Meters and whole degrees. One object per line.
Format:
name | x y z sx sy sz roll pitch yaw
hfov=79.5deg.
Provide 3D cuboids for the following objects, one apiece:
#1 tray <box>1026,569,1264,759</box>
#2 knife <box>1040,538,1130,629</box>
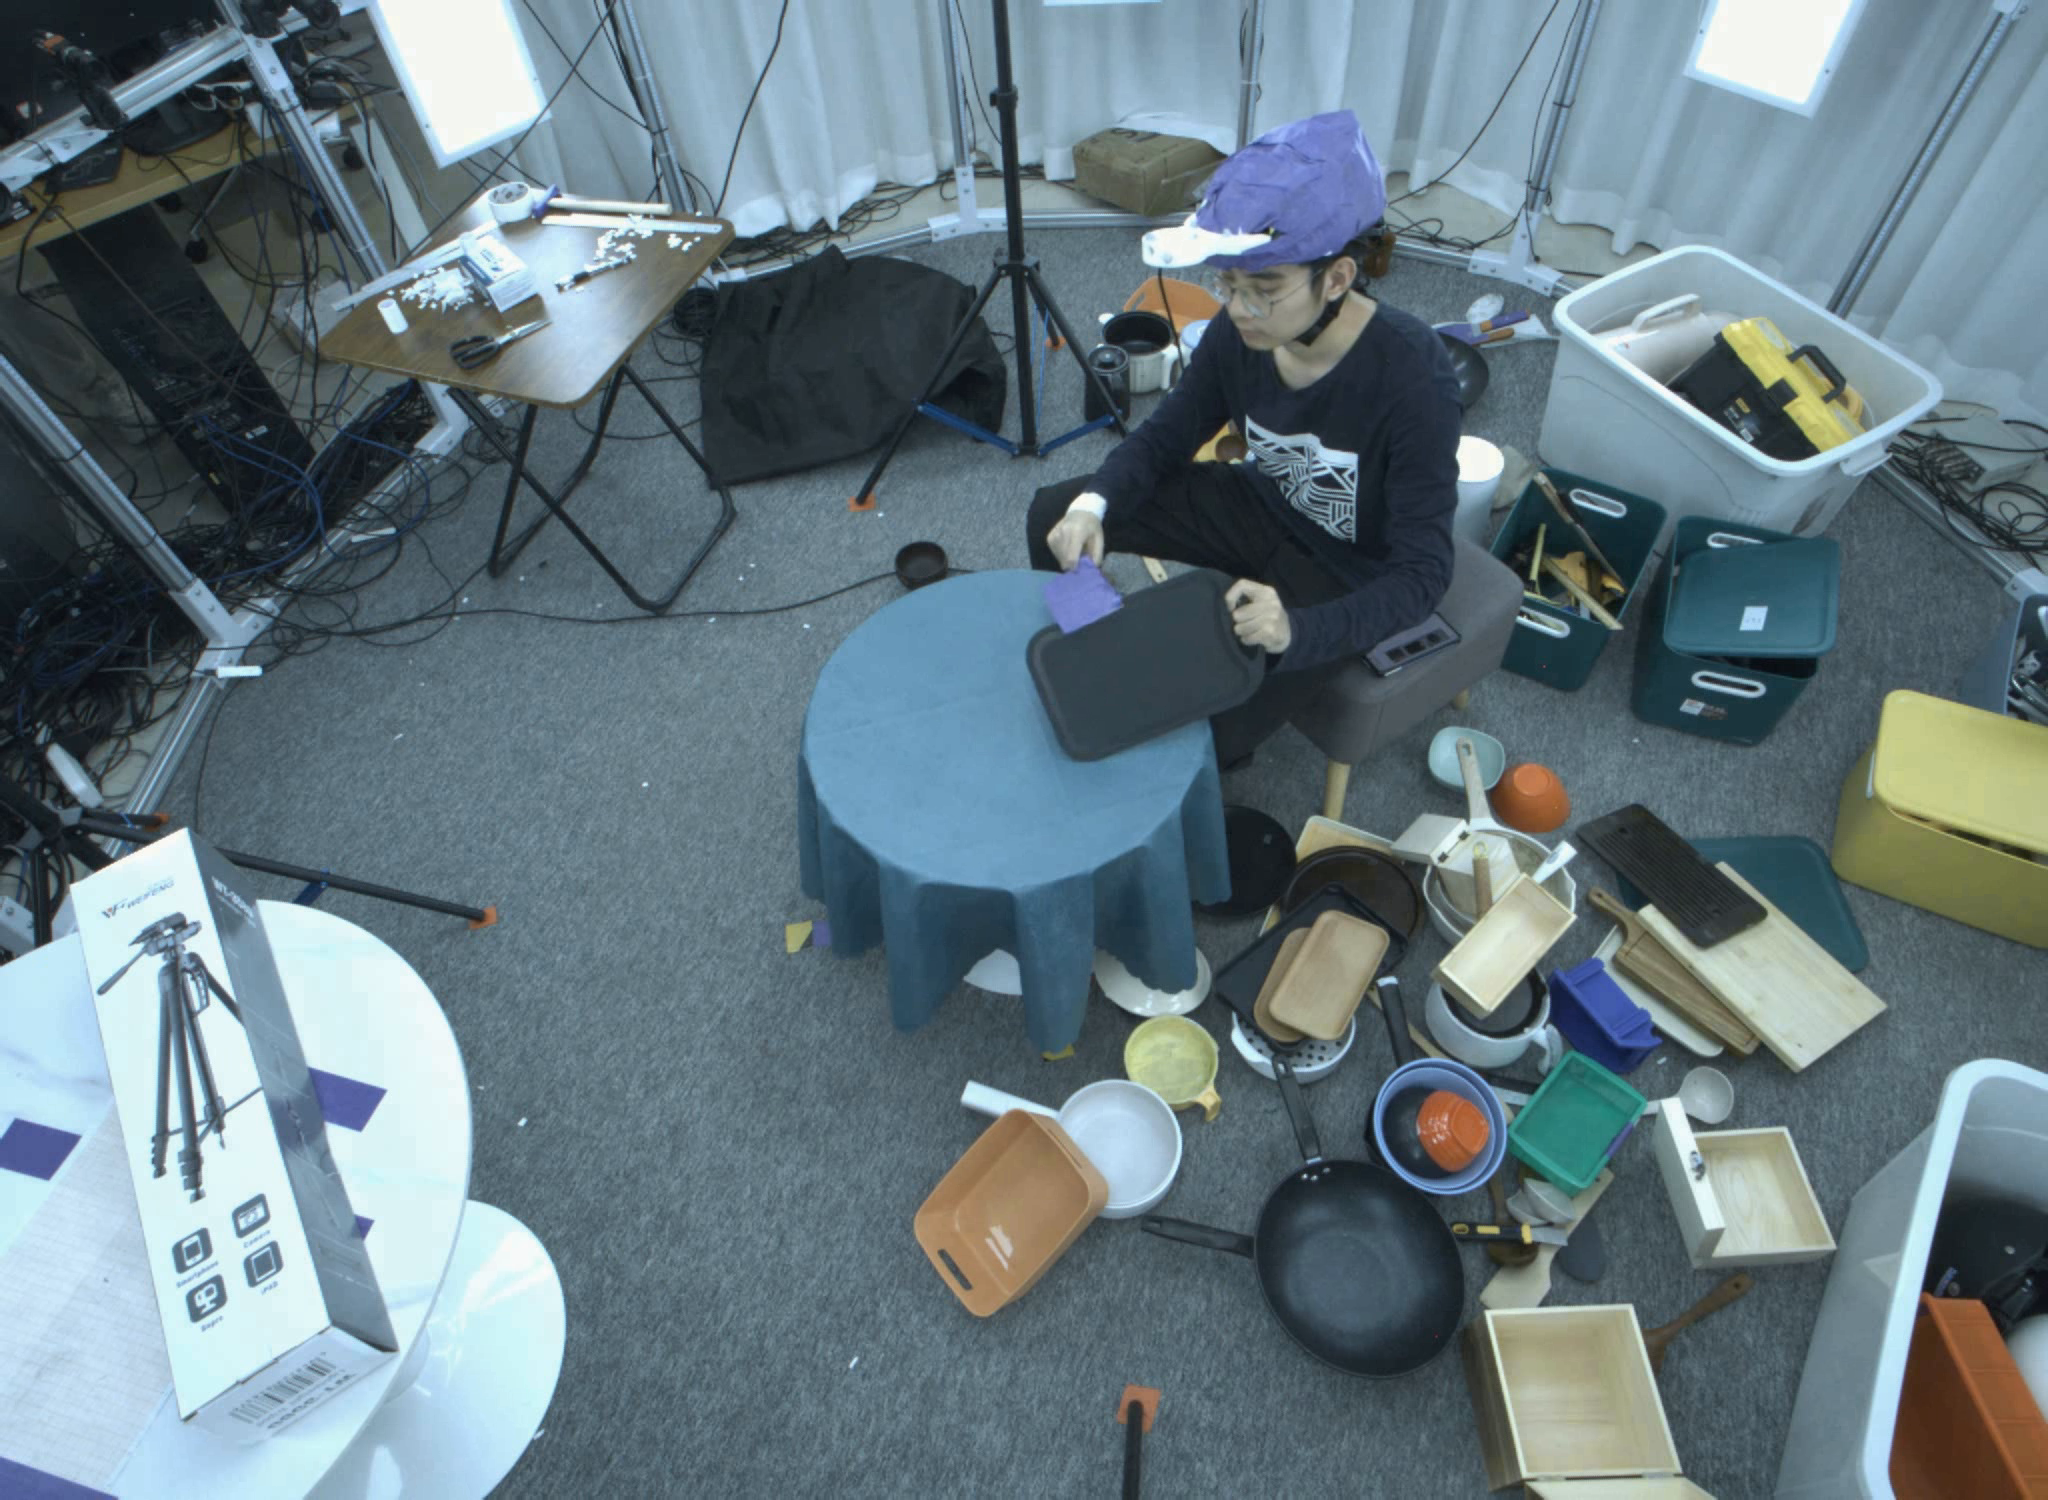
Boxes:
tray | 0.177 -0.122 1.738 0.325 0.213 0.010 -20 20 4
knife | 0.070 -0.247 1.795 0.104 0.032 0.310 -25 25 1
